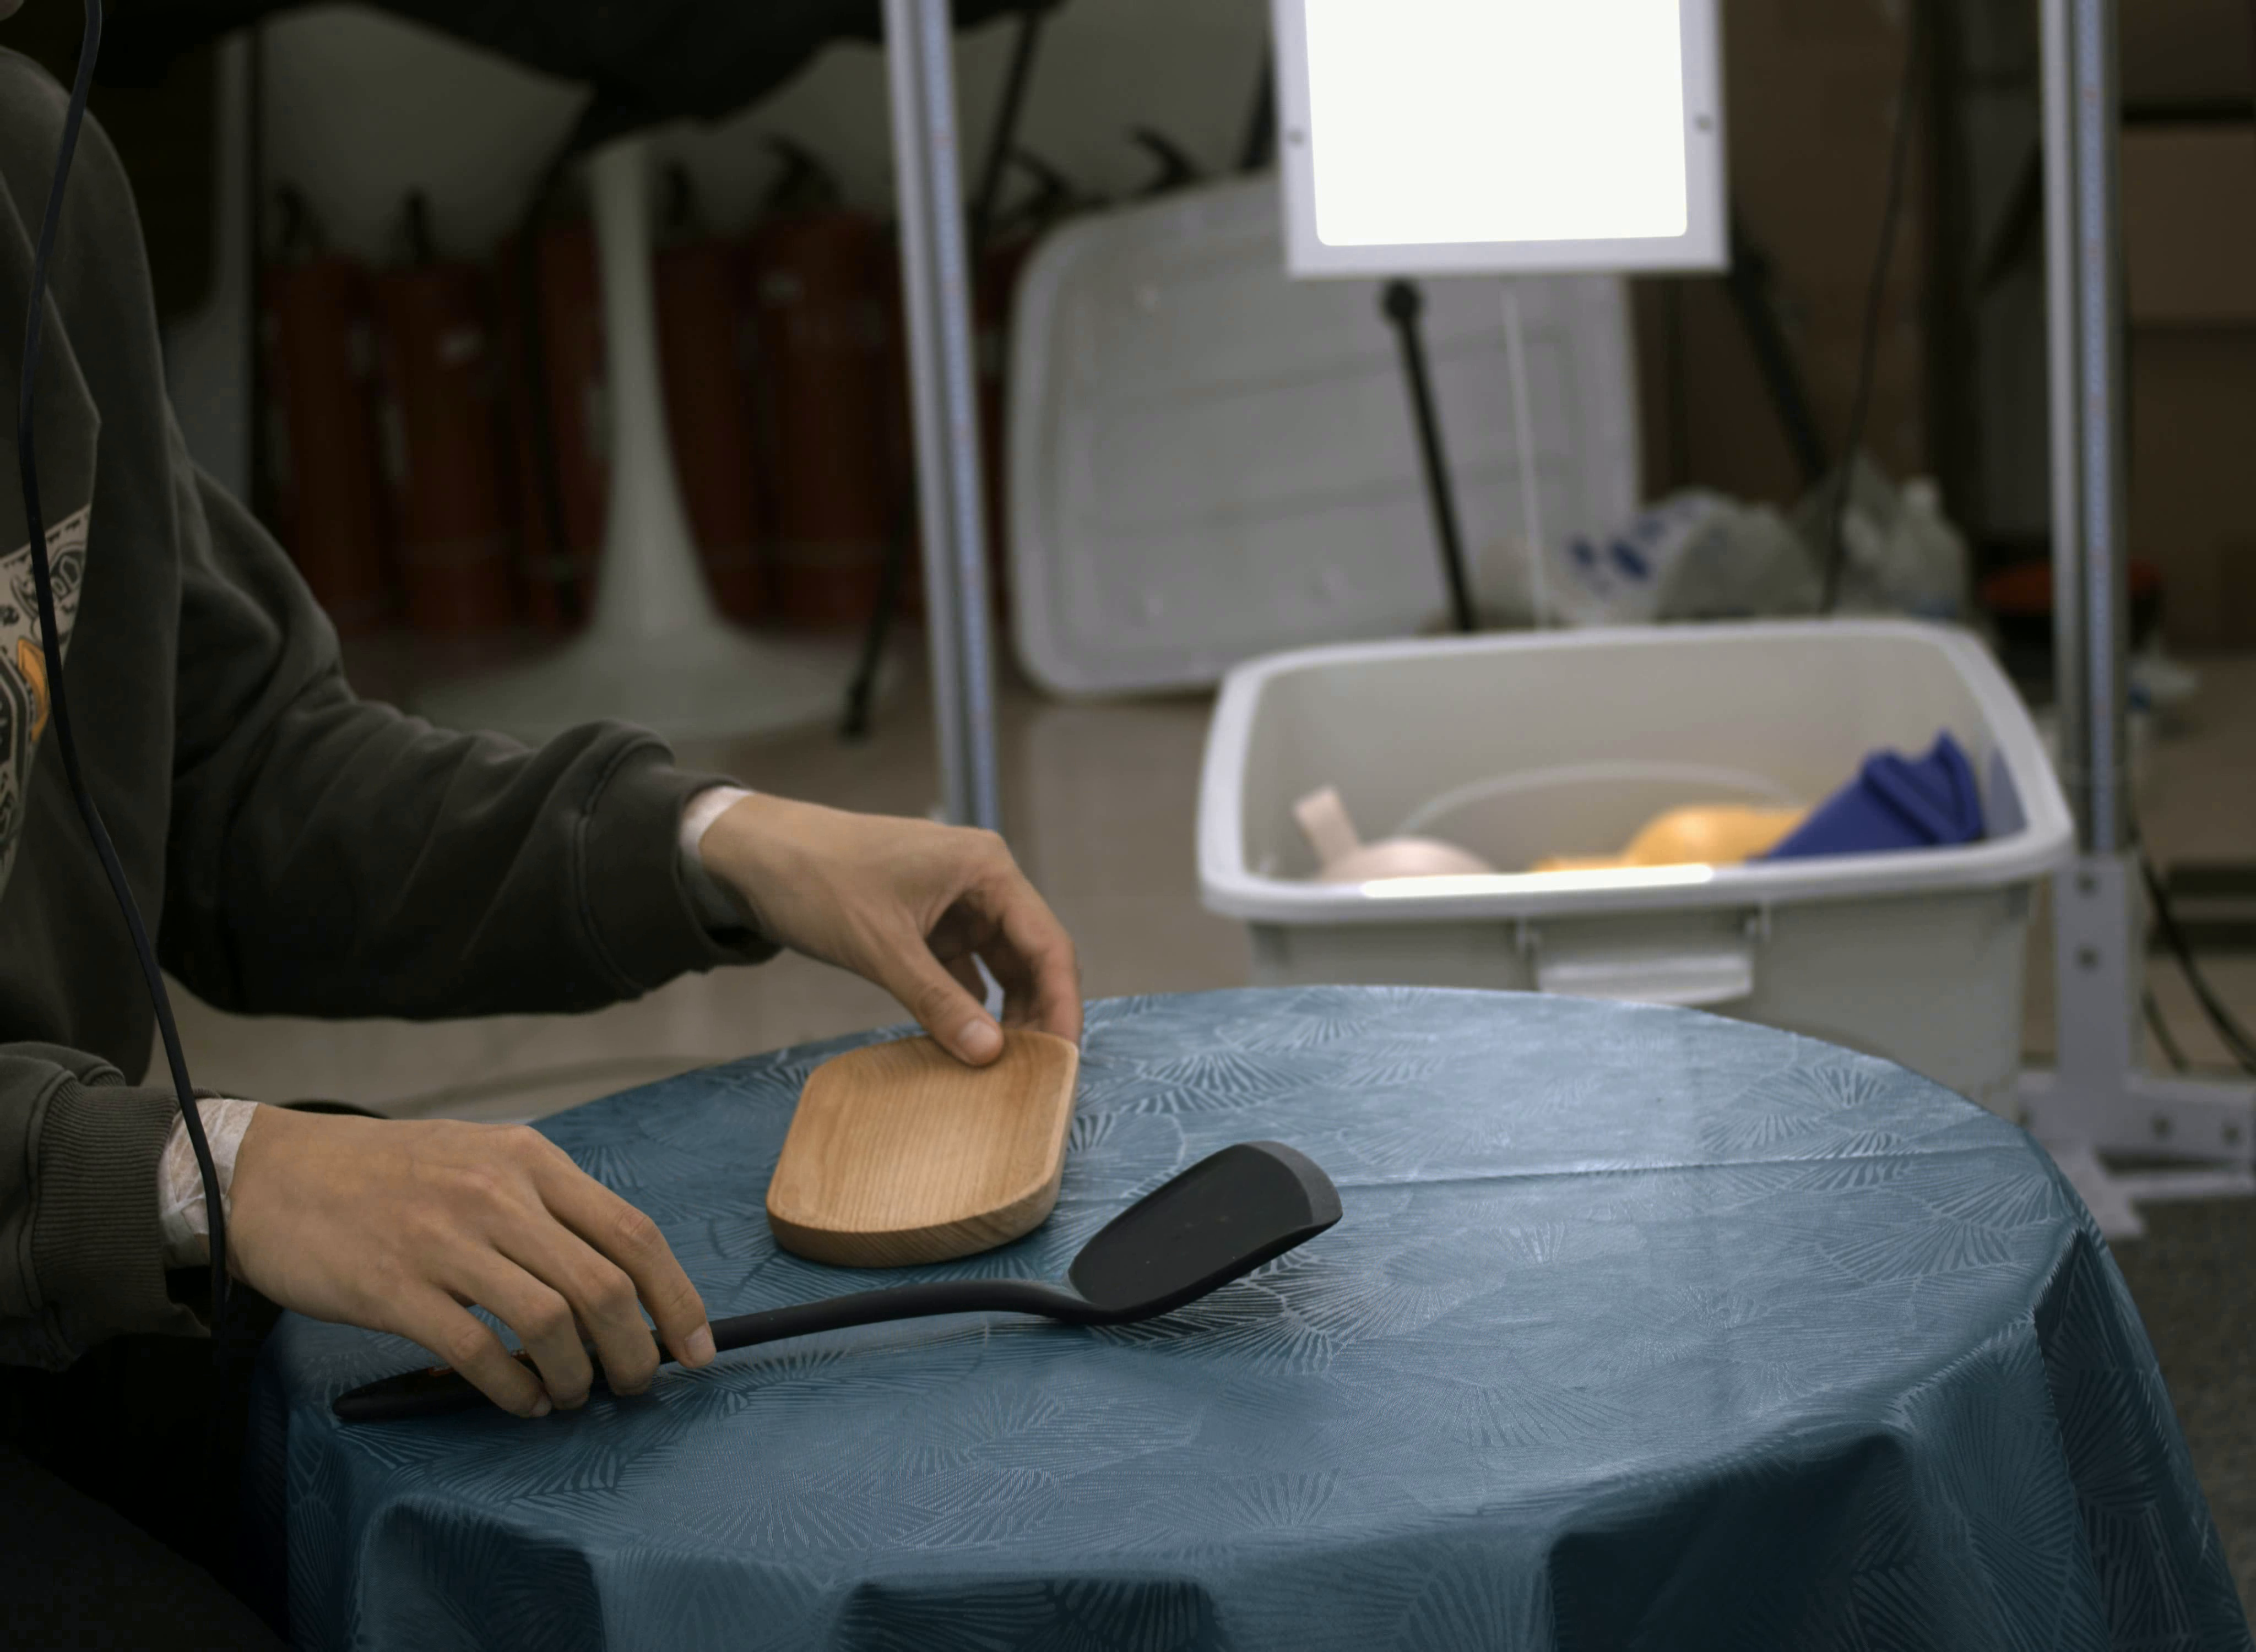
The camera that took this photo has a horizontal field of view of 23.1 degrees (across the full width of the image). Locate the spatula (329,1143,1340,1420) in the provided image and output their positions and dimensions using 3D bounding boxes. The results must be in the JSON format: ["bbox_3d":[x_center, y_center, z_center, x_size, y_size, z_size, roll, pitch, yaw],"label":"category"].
[{"bbox_3d":[-0.094,0.150,1.759,0.323,0.040,0.100,-7,13,-8],"label":"spatula"}]

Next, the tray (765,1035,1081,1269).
[{"bbox_3d":[-0.070,0.113,1.942,0.102,0.020,0.230,-6,15,5],"label":"tray"}]
